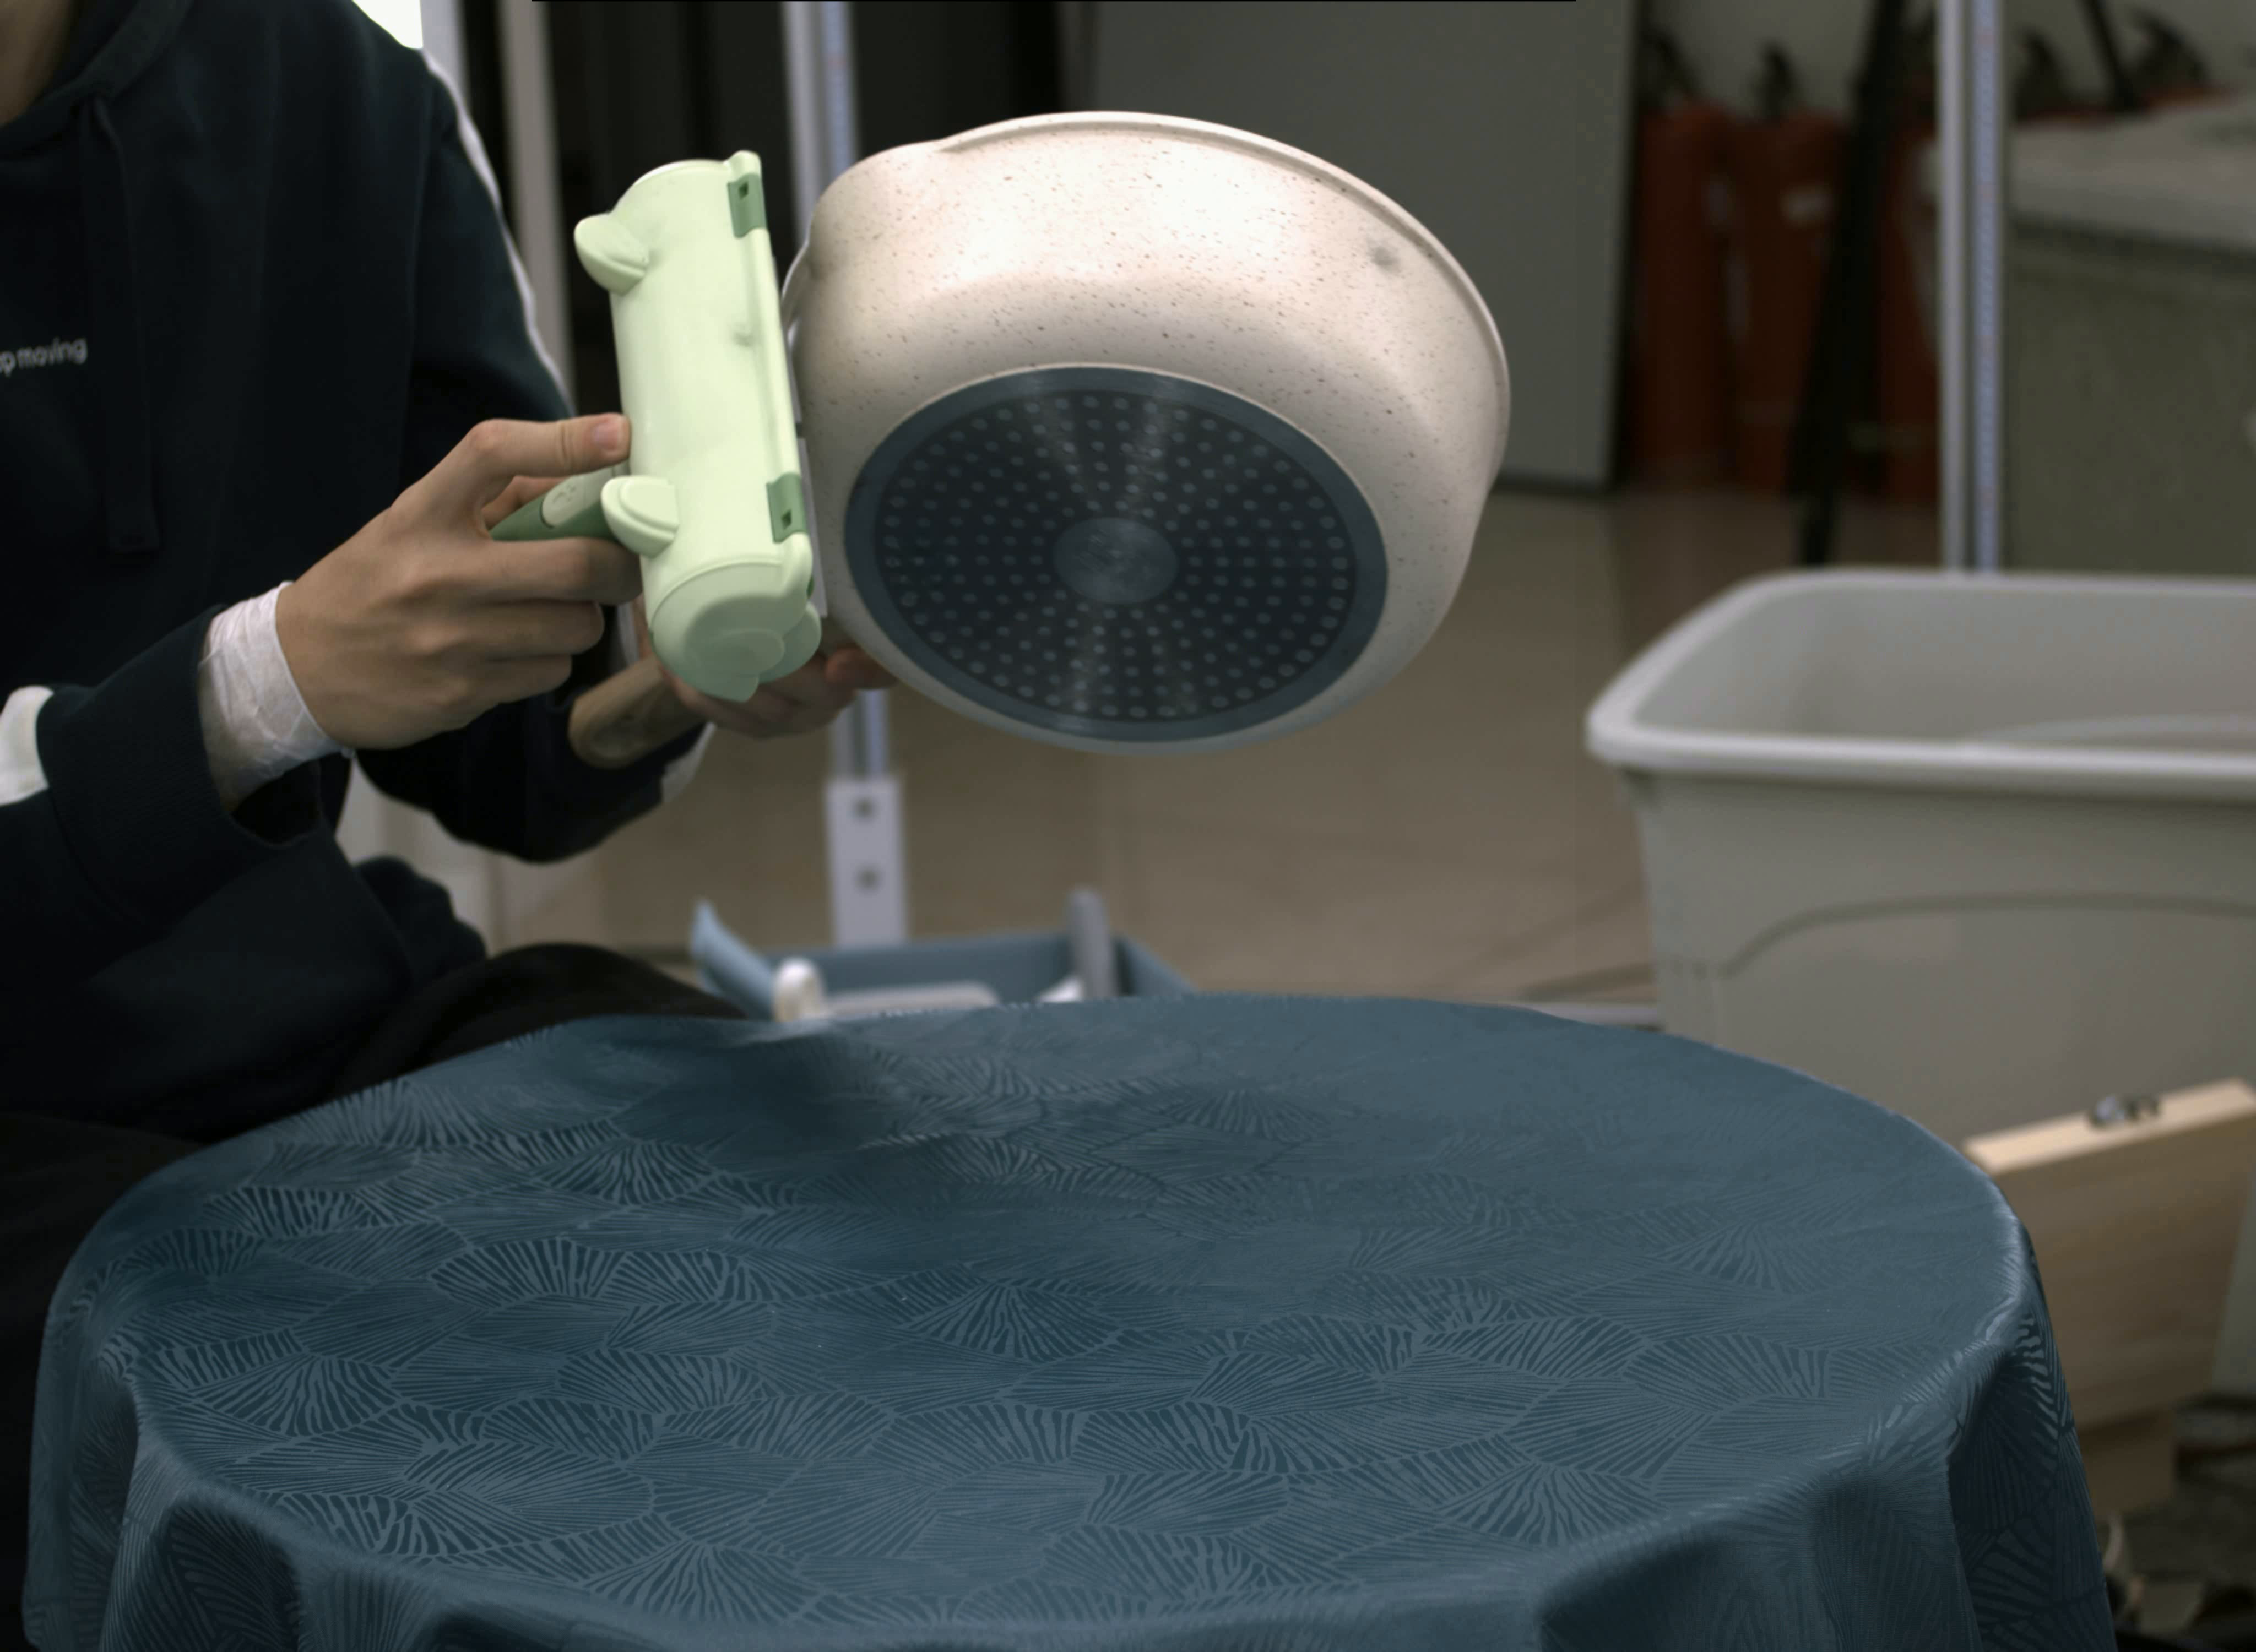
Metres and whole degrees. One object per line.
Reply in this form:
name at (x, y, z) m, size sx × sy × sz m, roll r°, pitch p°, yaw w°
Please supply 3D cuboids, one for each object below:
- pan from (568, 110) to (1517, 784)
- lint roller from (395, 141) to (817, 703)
pan at (-0.056, -0.083, 1.857) m, size 0.438 × 0.259 × 0.103 m, roll -32°, pitch 37°, yaw 38°
lint roller at (-0.182, -0.108, 1.735) m, size 0.184 × 0.081 × 0.201 m, roll -29°, pitch 47°, yaw 22°
